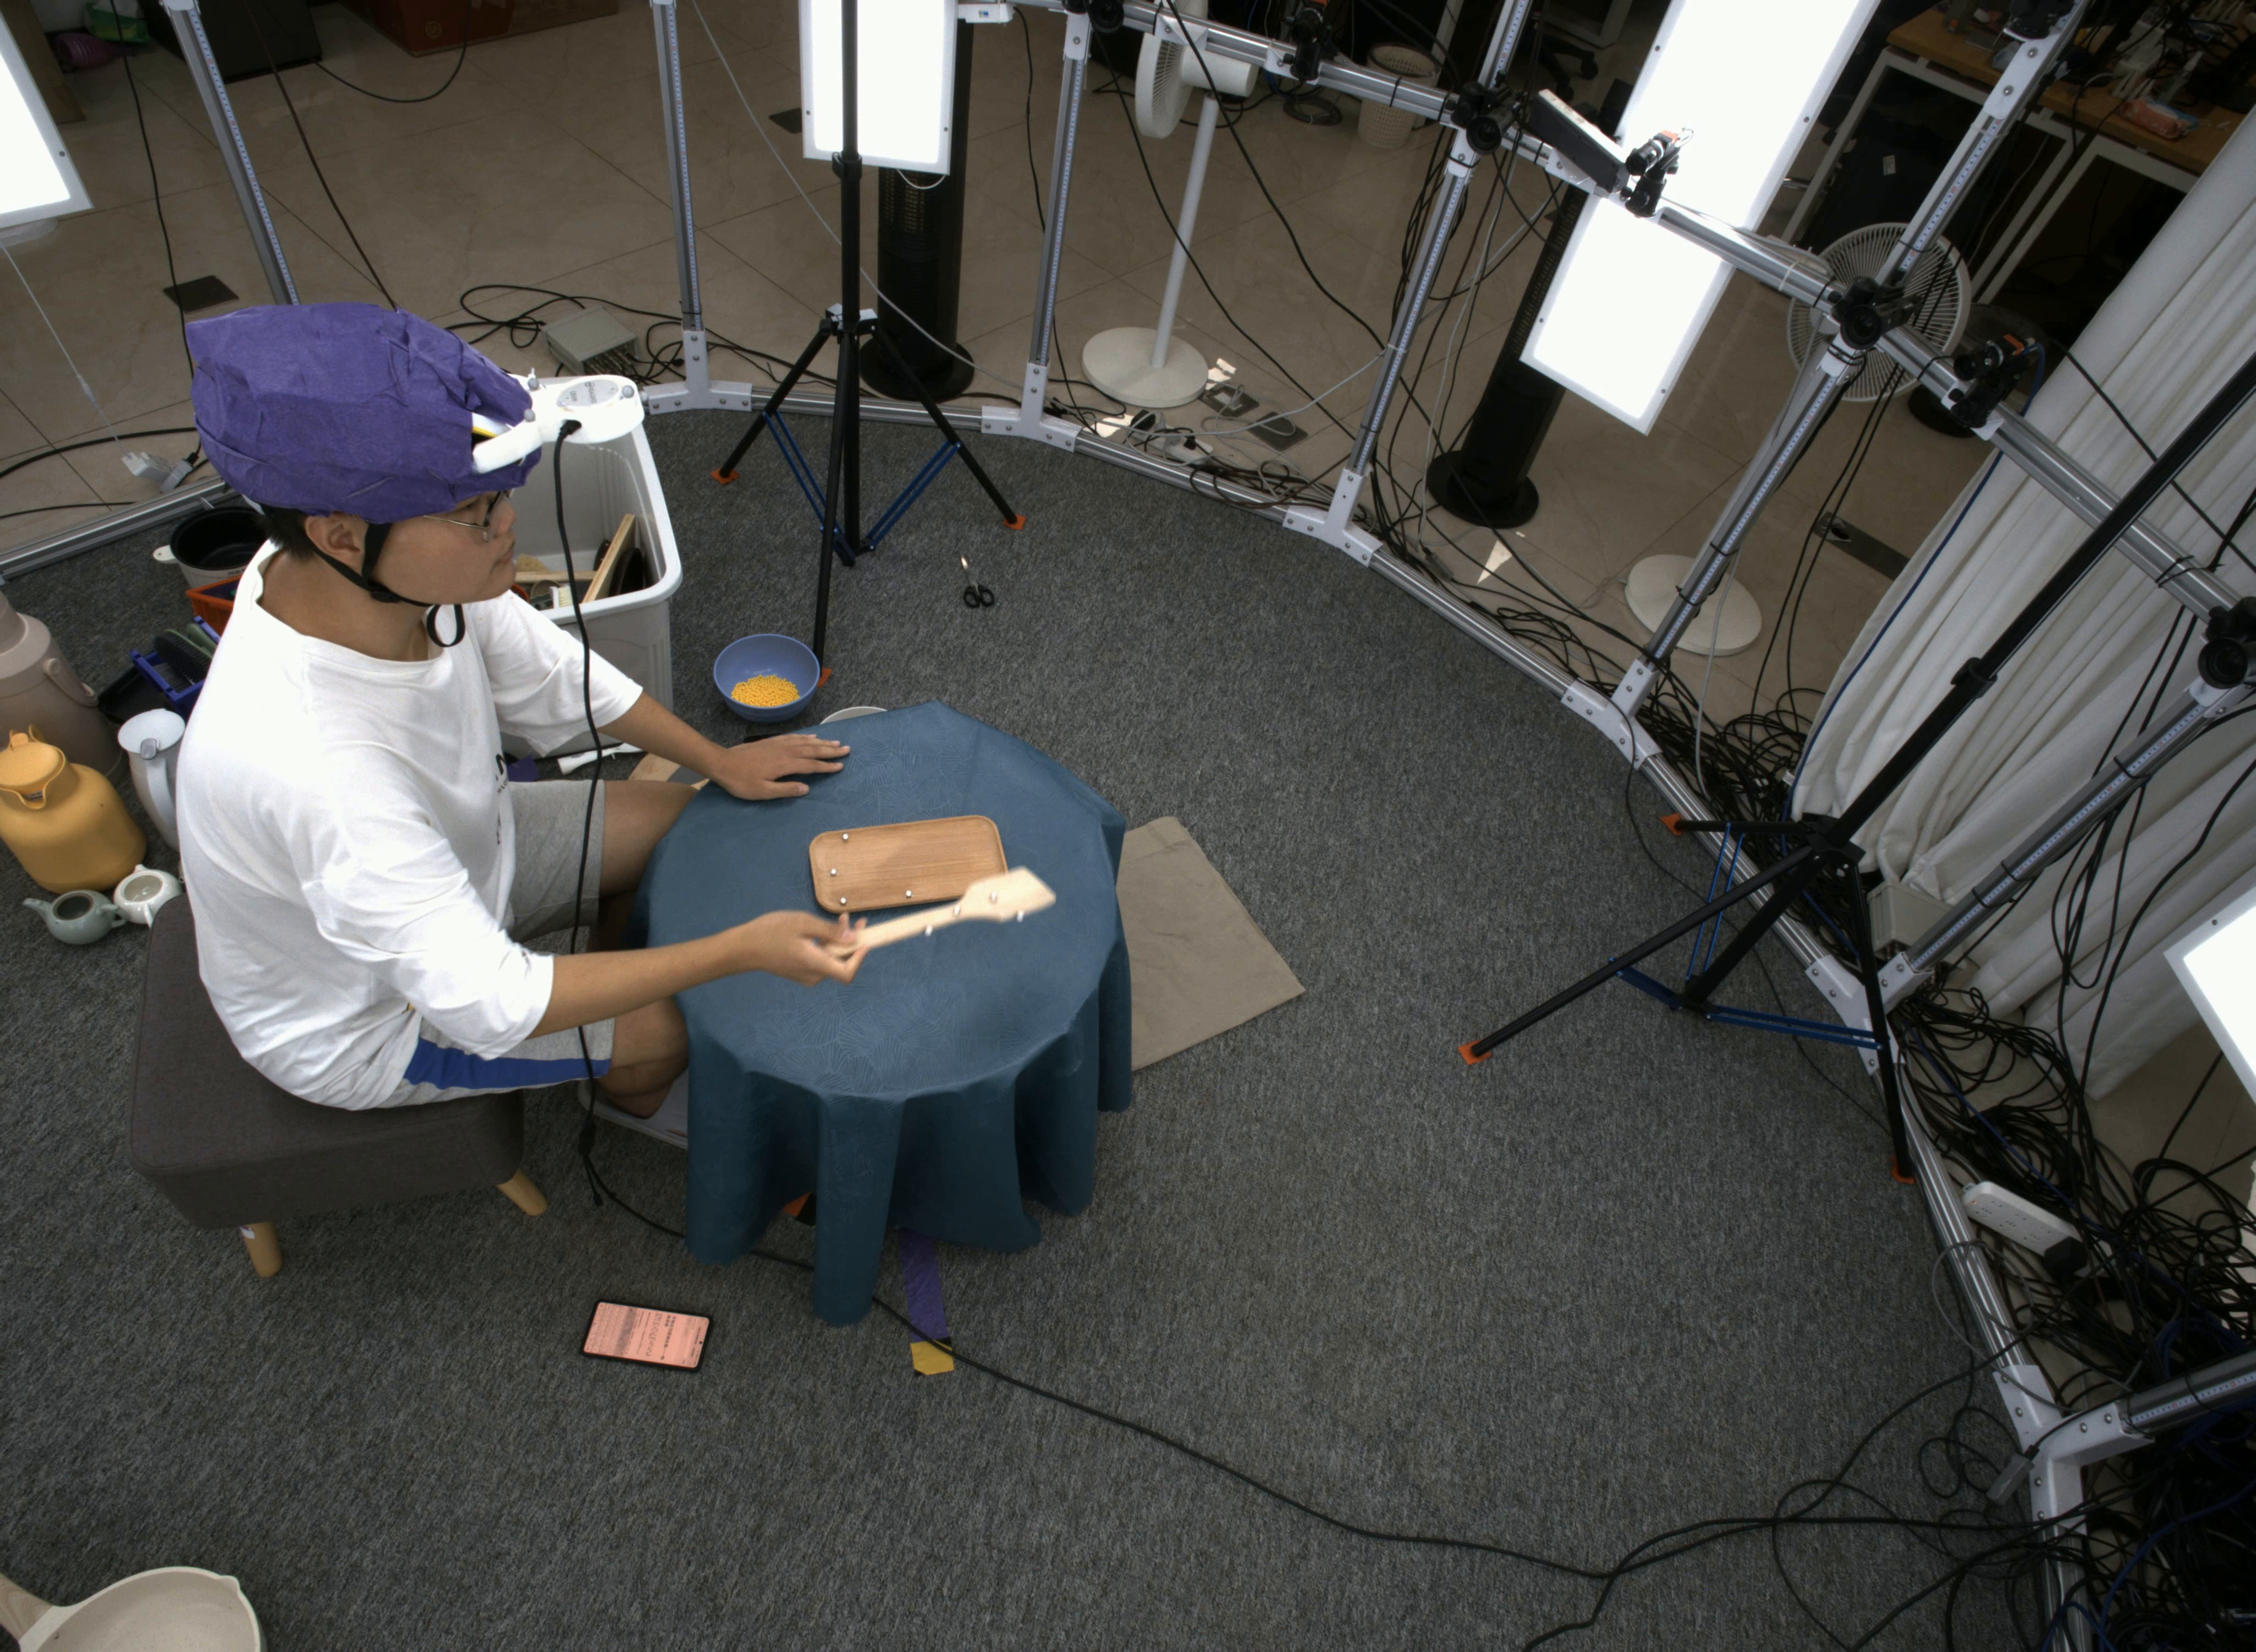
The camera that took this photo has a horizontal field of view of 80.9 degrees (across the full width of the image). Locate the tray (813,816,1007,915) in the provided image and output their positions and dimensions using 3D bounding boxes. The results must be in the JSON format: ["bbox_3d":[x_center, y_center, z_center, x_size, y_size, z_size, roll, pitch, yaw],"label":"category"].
[{"bbox_3d":[-0.286,0.050,1.720,0.251,0.023,0.128,-5,58,-17],"label":"tray"}]

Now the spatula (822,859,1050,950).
[{"bbox_3d":[-0.216,0.091,1.471,0.296,0.011,0.070,-18,44,-42],"label":"spatula"}]
